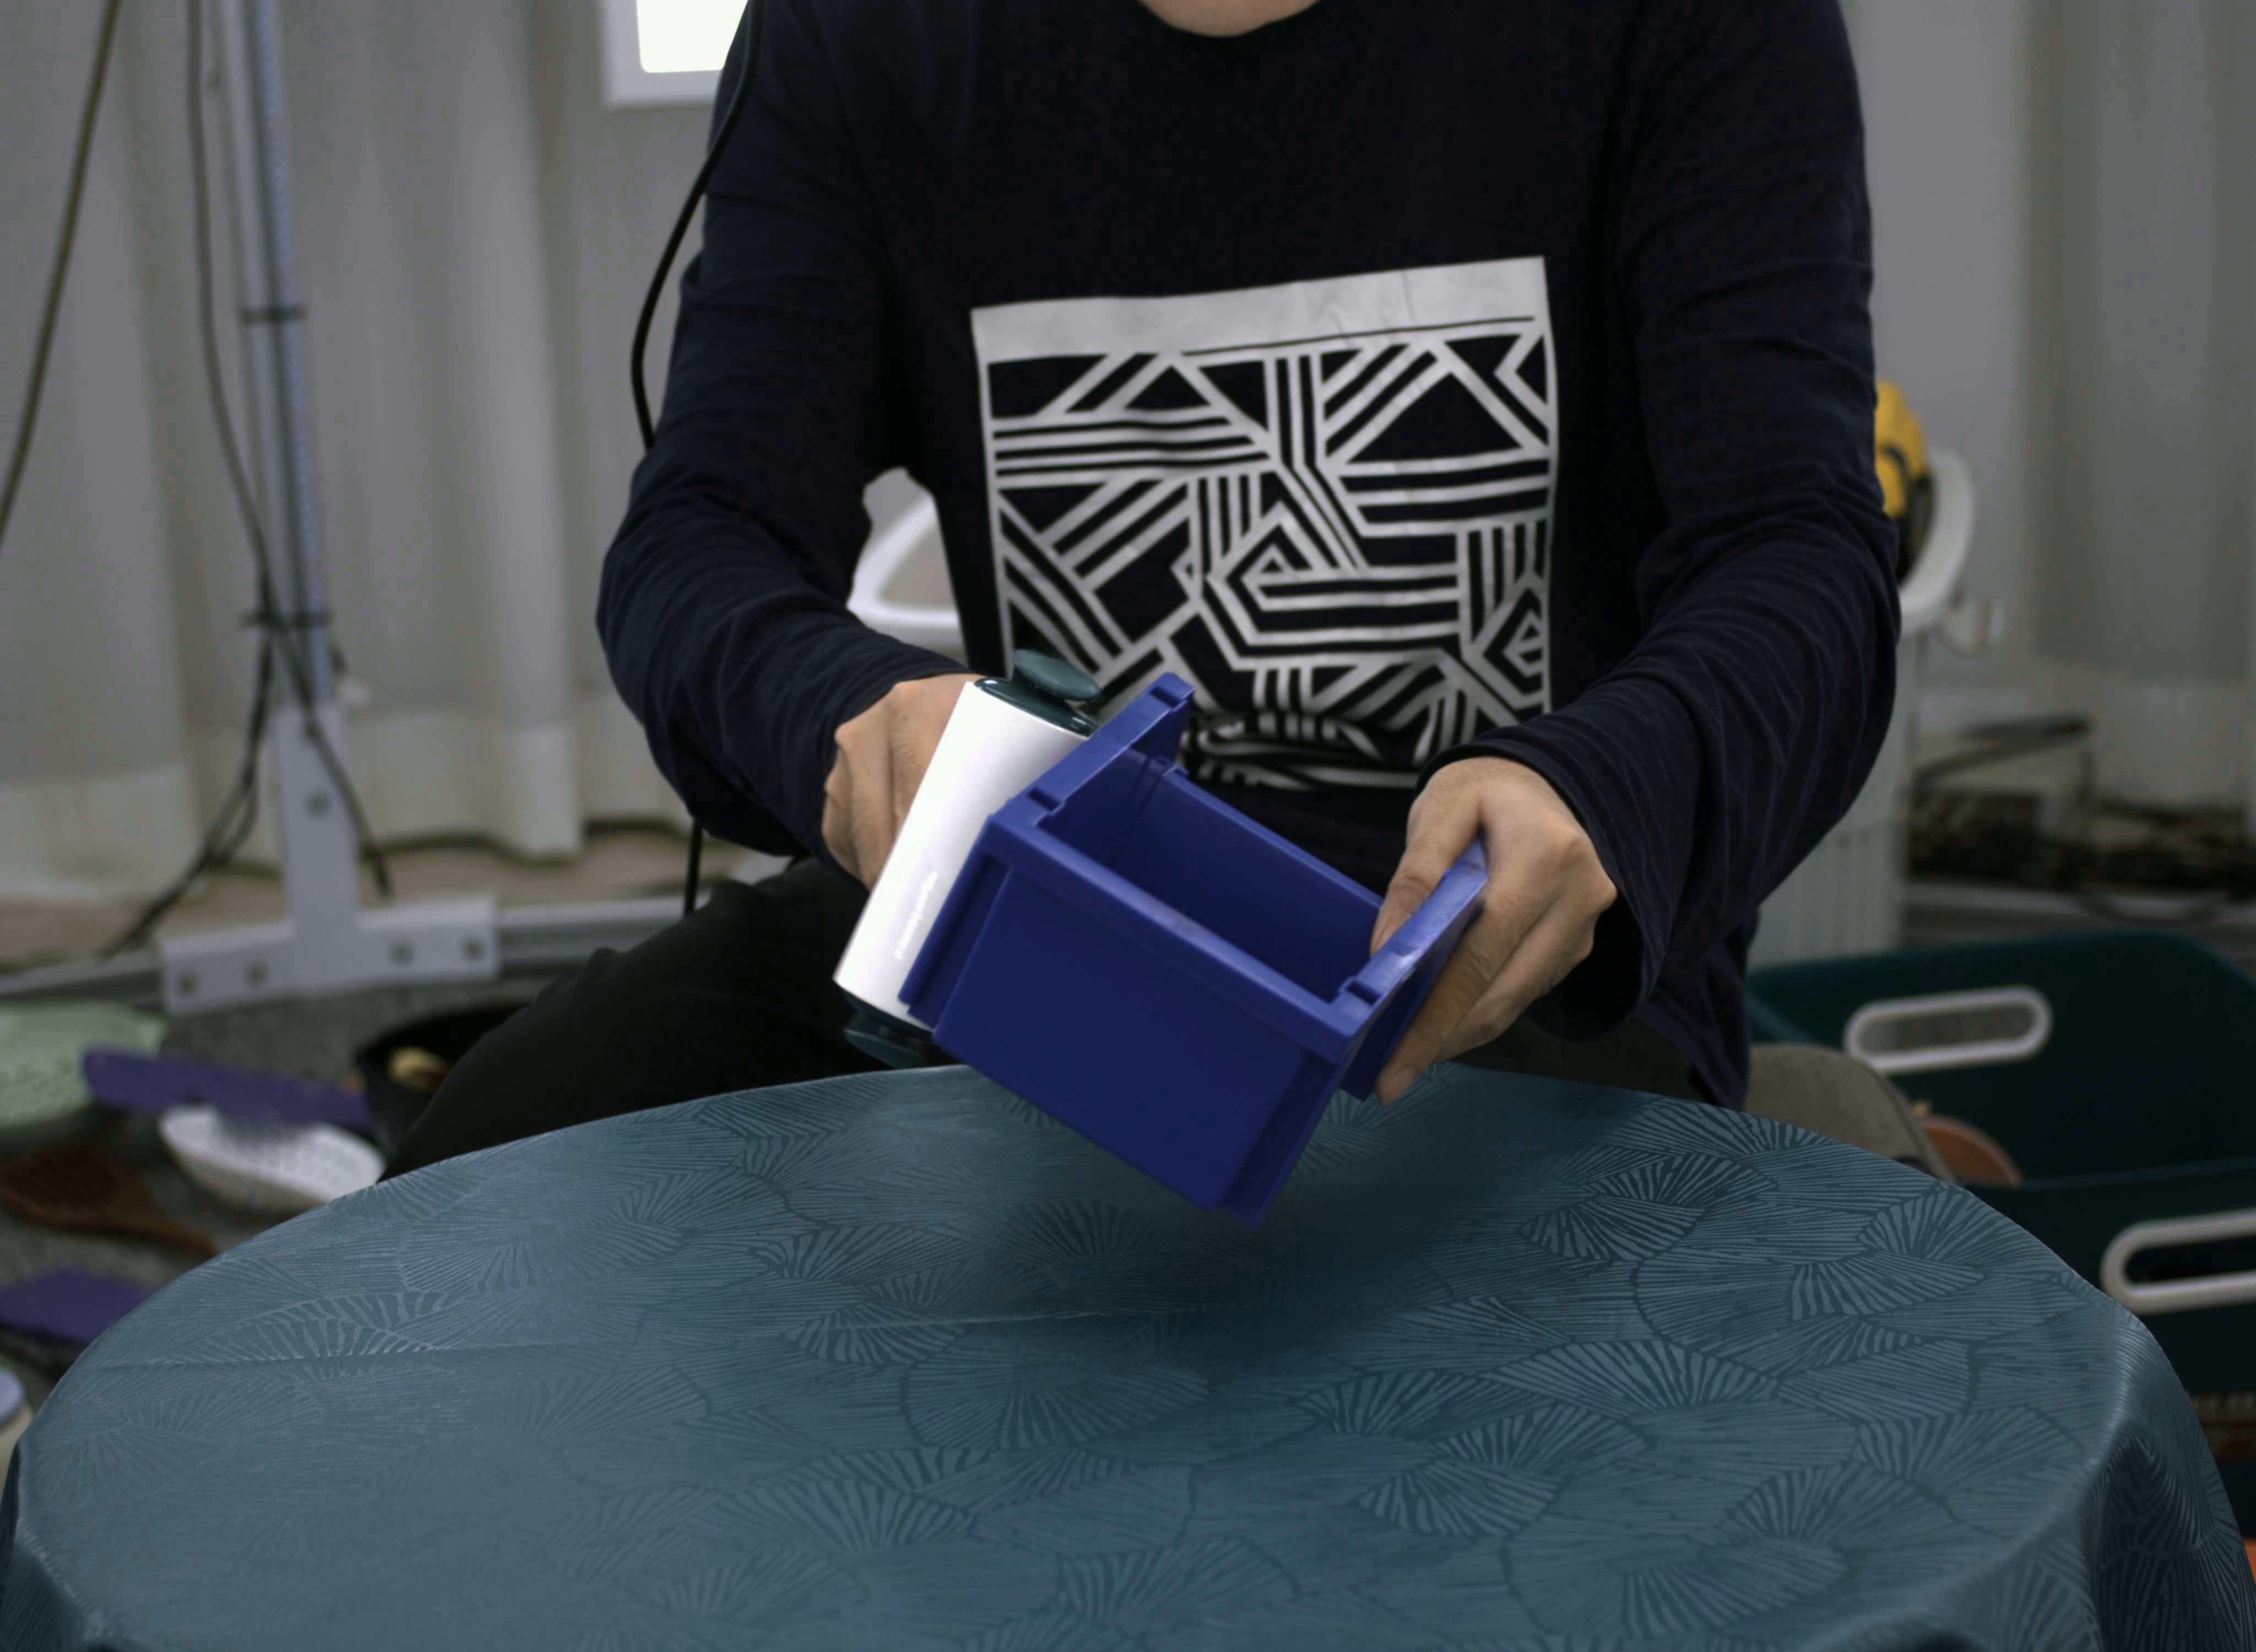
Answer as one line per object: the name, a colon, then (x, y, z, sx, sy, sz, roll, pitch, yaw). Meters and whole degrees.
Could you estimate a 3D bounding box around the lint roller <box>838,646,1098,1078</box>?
lint roller: (-0.057, 0.002, 1.710, 0.048, 0.134, 0.181, 22, 4, -12)

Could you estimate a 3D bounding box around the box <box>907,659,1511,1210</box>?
box: (0.027, 0.027, 1.628, 0.125, 0.081, 0.180, 31, 28, 11)
